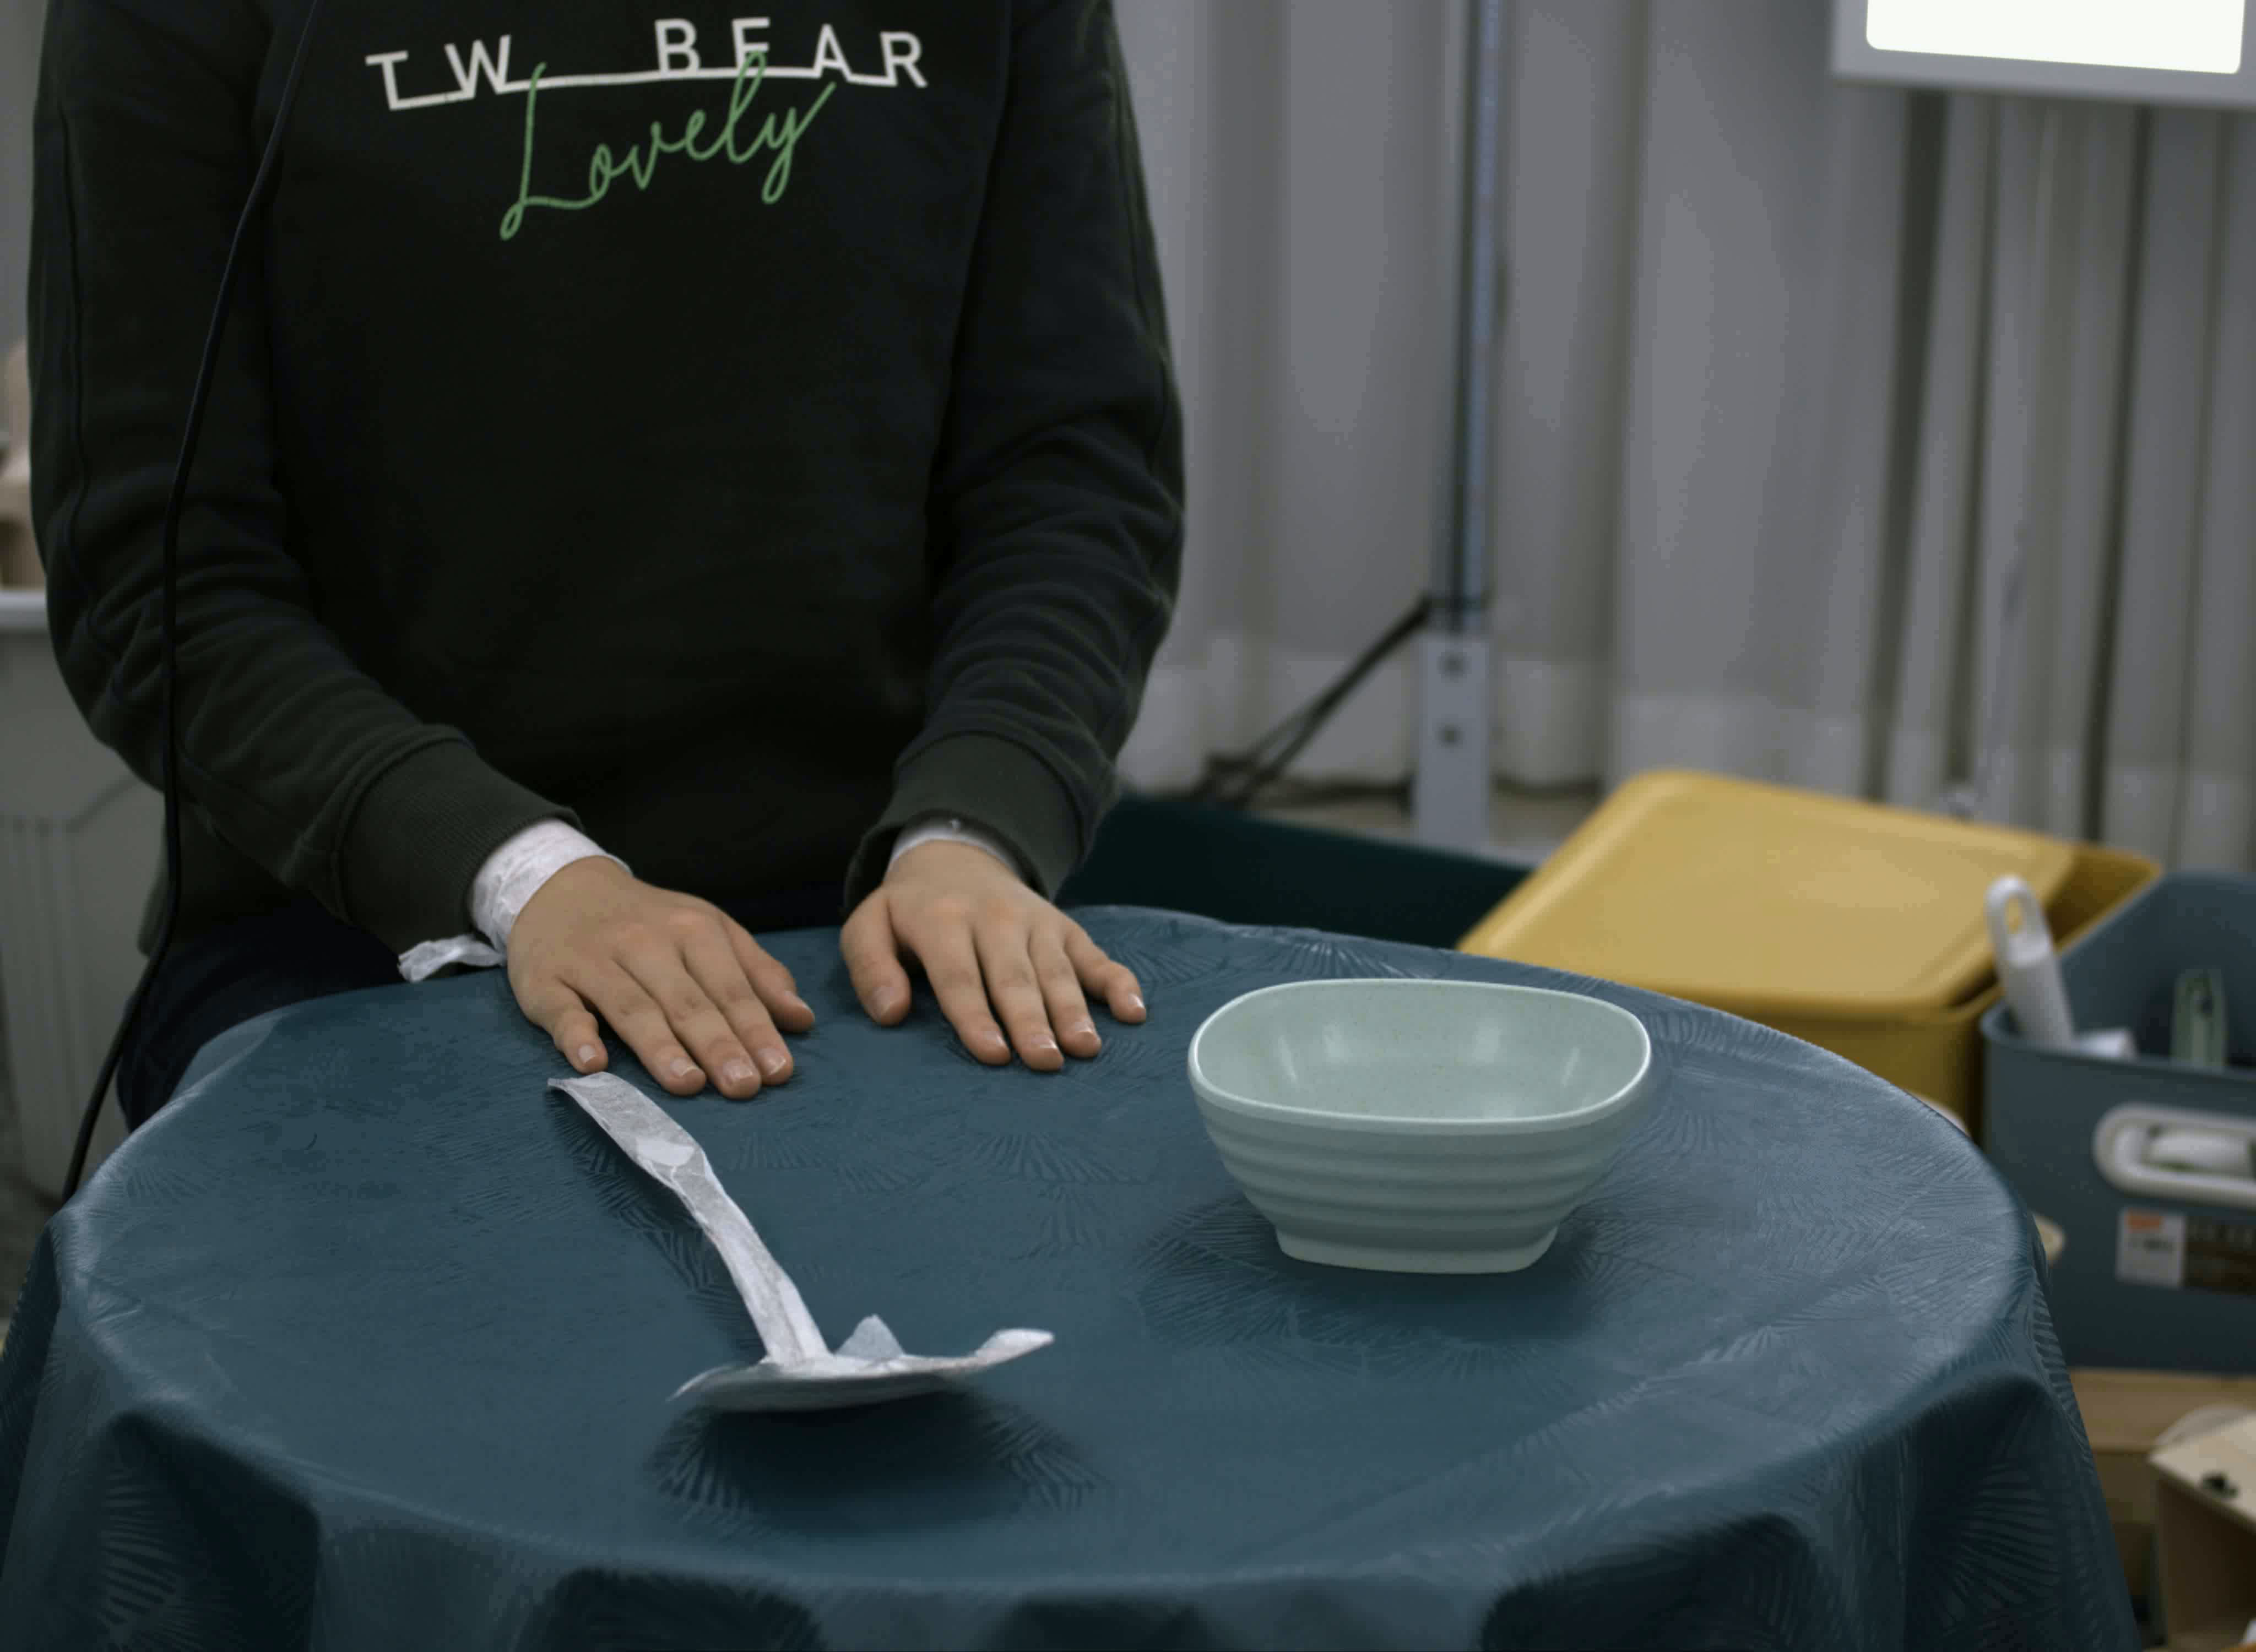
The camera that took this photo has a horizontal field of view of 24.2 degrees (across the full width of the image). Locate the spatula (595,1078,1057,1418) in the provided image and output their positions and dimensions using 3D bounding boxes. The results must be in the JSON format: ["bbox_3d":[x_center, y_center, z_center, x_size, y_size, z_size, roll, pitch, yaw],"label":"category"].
[{"bbox_3d":[-0.114,0.114,1.545,0.099,0.045,0.361,-6,18,-17],"label":"spatula"}]

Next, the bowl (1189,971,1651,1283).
[{"bbox_3d":[0.087,0.094,1.591,0.151,0.059,0.150,3,18,0],"label":"bowl"}]
